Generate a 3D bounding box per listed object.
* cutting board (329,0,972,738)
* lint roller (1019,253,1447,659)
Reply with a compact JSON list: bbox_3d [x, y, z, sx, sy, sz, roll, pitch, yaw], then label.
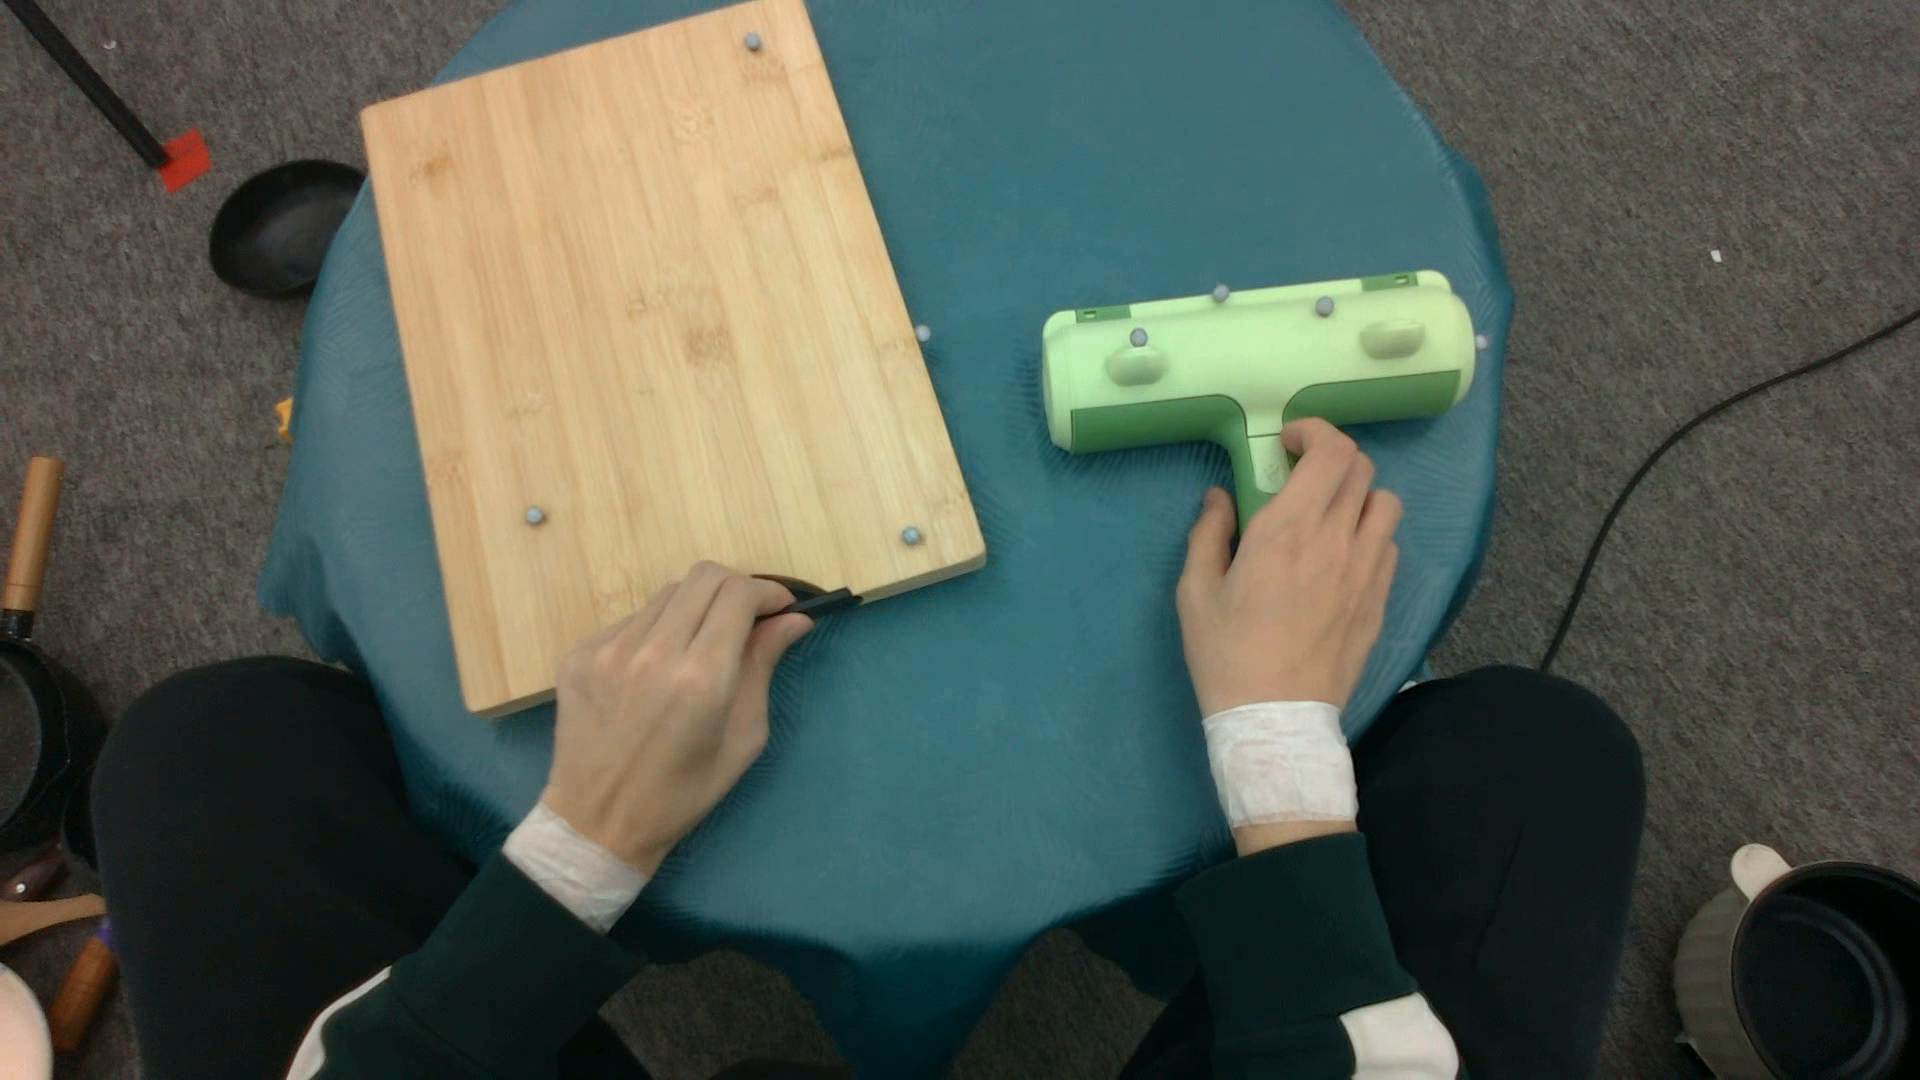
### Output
[{"bbox_3d":[-0.162,-0.104,0.679,0.251,0.023,0.349,-19,69,-5],"label":"cutting board"},{"bbox_3d":[0.134,-0.043,0.626,0.198,0.082,0.184,-7,67,-1],"label":"lint roller"}]
